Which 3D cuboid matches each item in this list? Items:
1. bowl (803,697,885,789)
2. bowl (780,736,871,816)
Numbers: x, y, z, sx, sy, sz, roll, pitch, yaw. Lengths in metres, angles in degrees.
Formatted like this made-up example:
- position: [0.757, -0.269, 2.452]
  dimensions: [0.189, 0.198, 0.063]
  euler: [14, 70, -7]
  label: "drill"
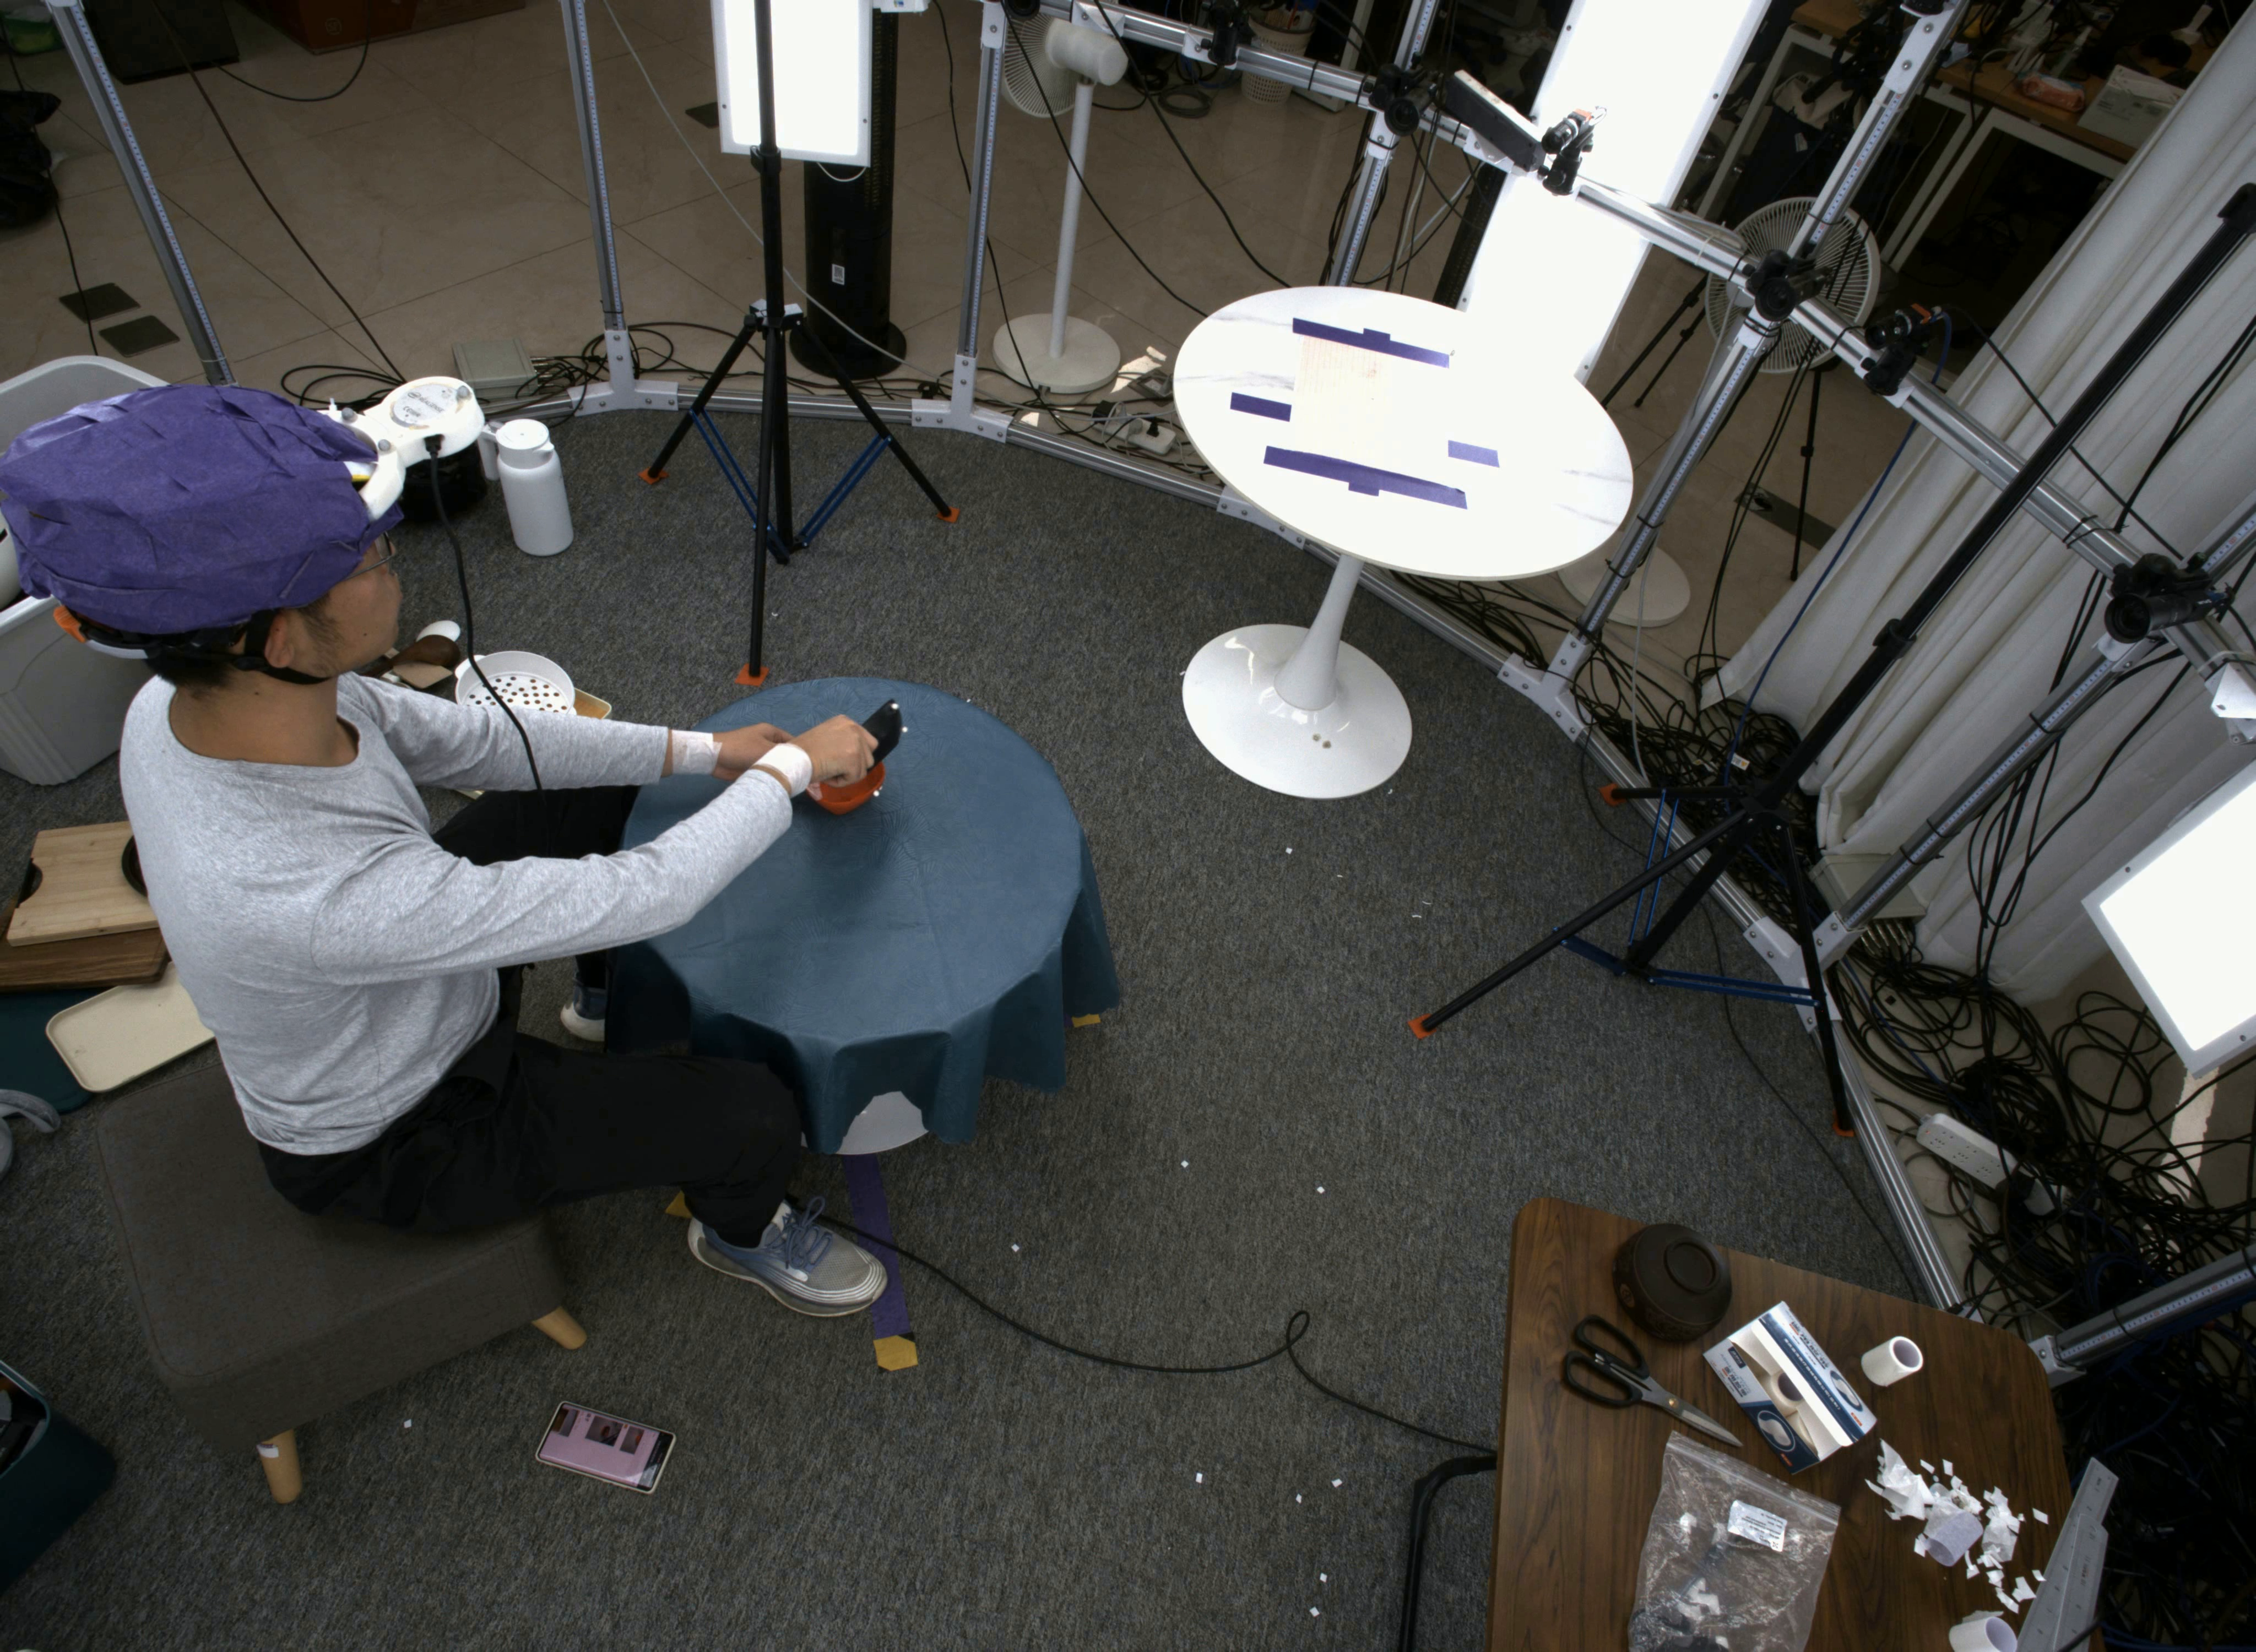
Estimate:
- position: [-0.359, -0.098, 1.682]
  dimensions: [0.050, 0.138, 0.139]
  euler: [40, 50, -14]
  label: "bowl"
- position: [-0.408, -0.060, 1.750]
  dimensions: [0.119, 0.052, 0.117]
  euler: [9, 52, -10]
  label: "bowl"
